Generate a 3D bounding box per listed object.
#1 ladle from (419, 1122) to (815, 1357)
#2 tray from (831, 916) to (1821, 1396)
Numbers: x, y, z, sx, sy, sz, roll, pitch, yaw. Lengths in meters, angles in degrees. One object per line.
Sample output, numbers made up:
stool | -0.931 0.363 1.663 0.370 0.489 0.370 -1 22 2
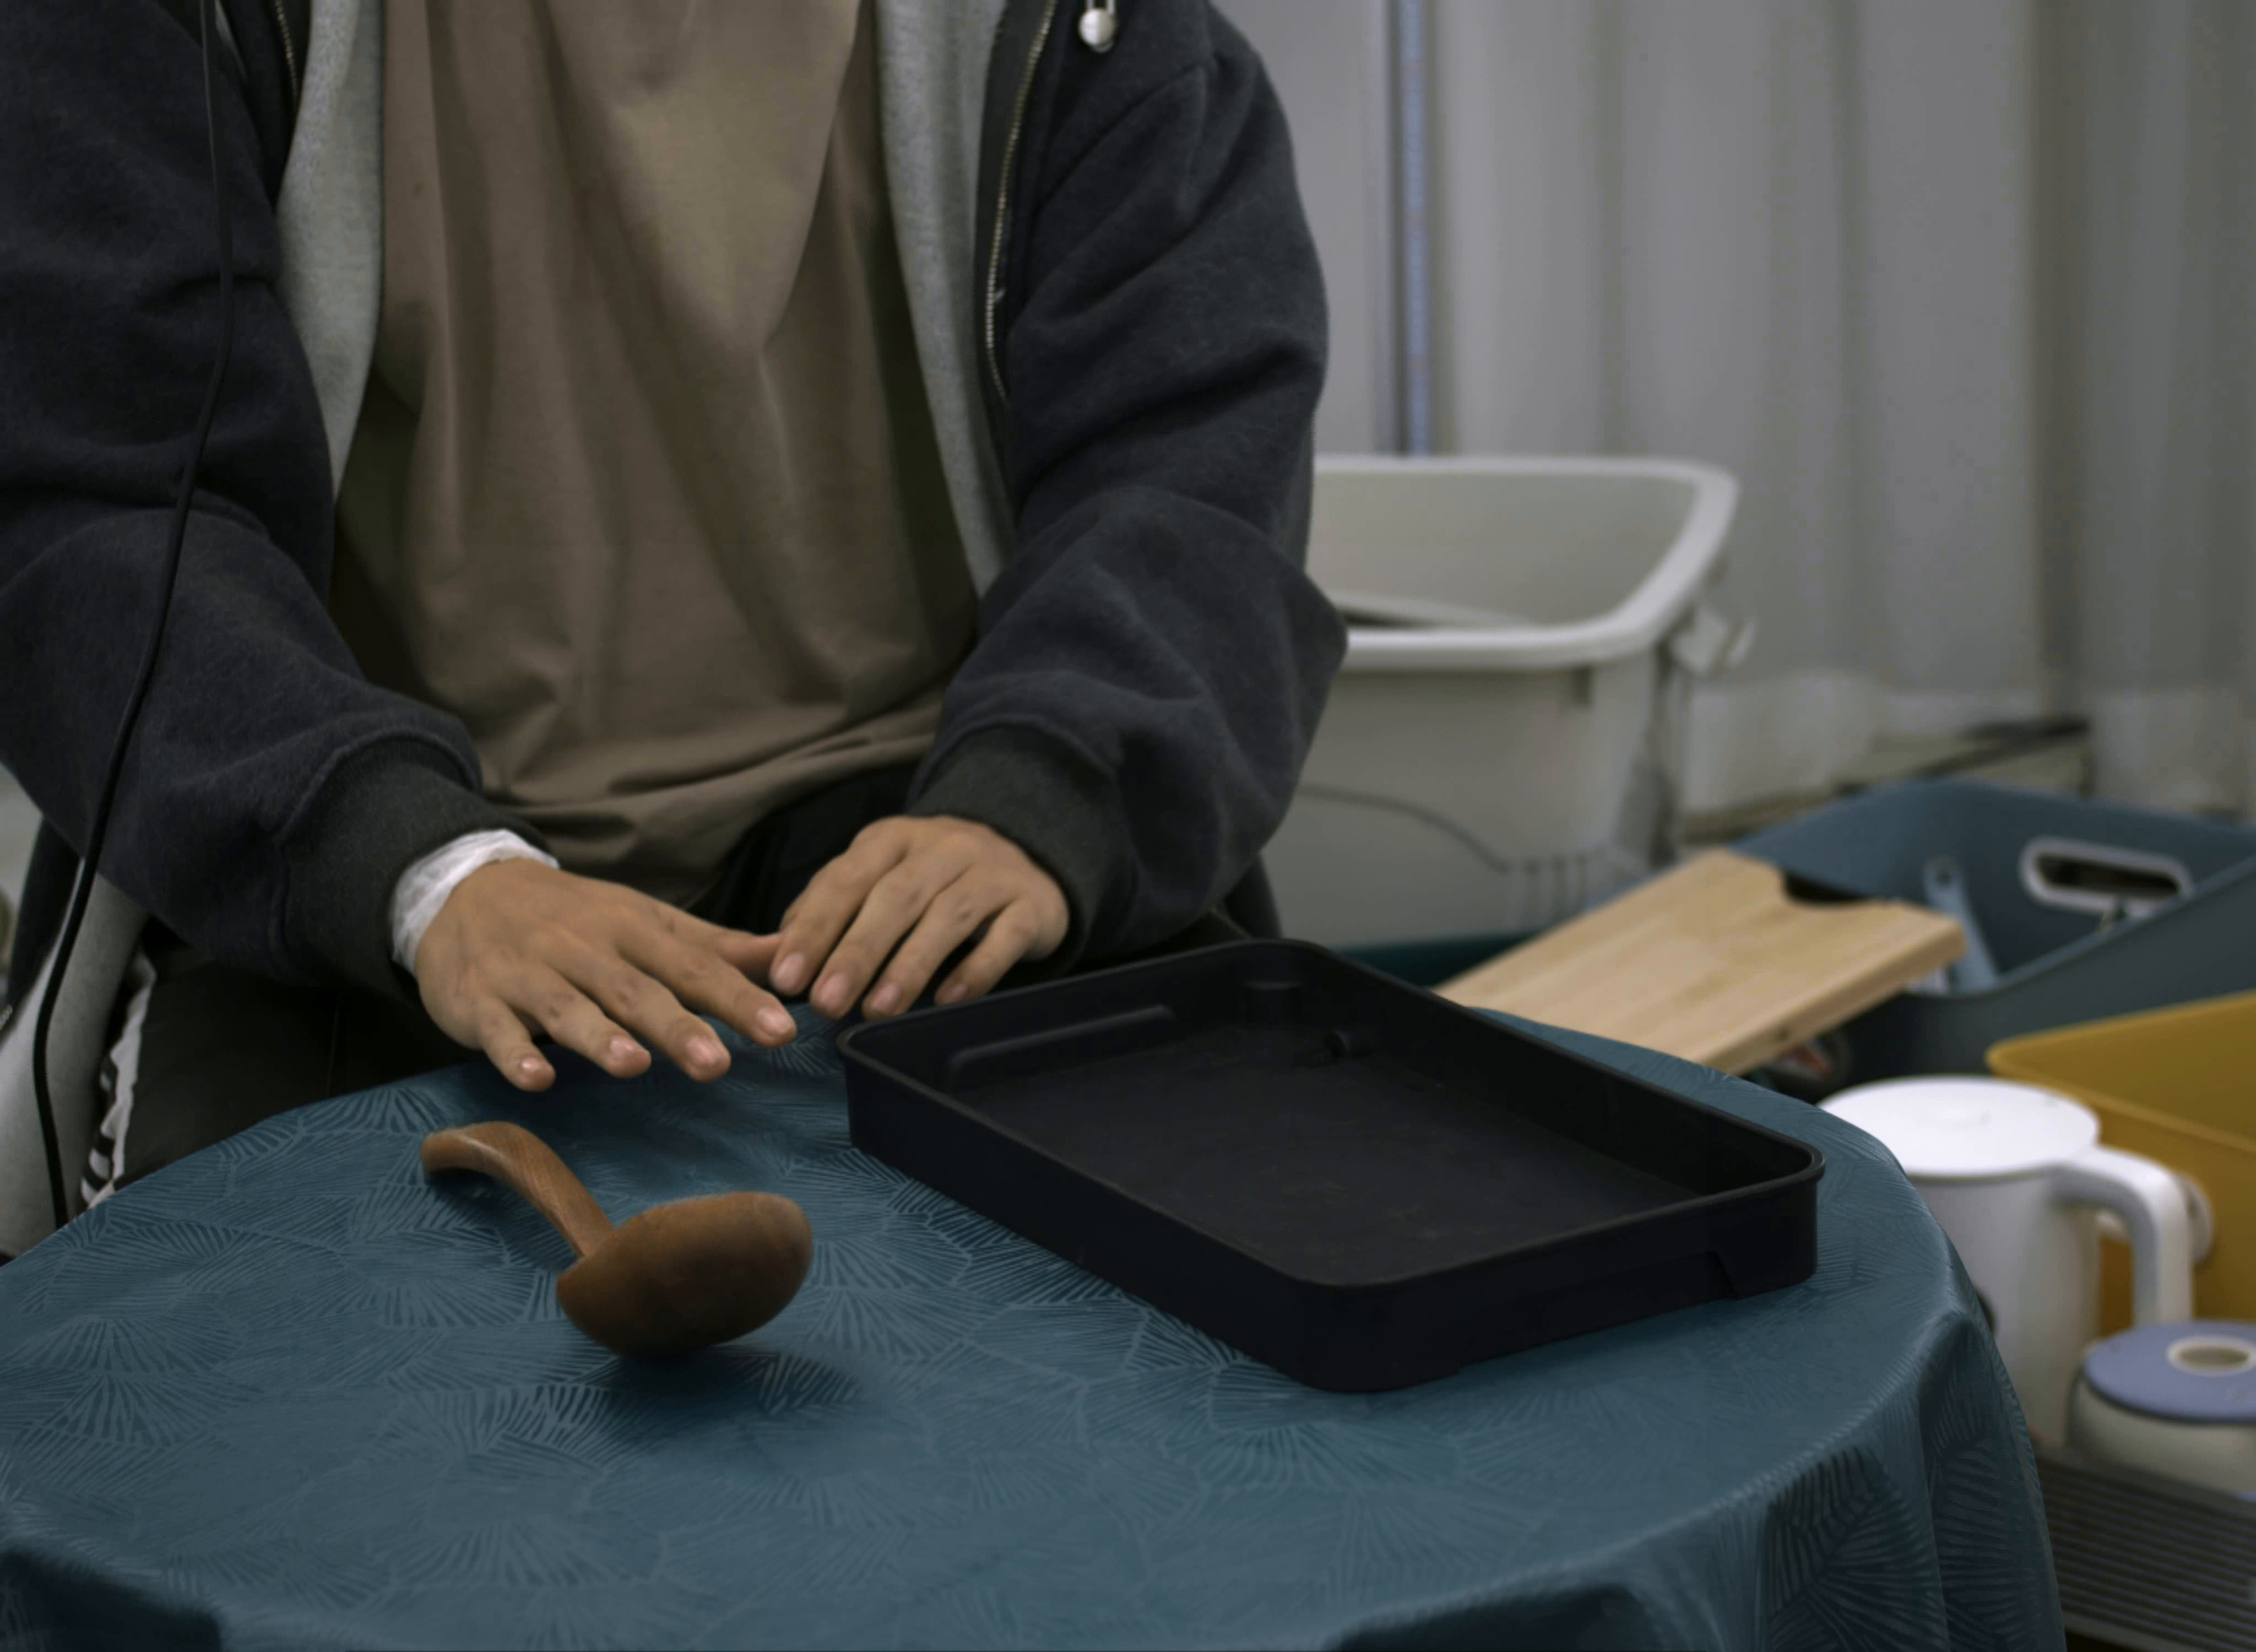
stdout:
ladle | -0.166 0.107 1.652 0.076 0.065 0.262 -4 14 -24
tray | 0.055 0.096 1.695 0.183 0.037 0.320 -12 18 -28
